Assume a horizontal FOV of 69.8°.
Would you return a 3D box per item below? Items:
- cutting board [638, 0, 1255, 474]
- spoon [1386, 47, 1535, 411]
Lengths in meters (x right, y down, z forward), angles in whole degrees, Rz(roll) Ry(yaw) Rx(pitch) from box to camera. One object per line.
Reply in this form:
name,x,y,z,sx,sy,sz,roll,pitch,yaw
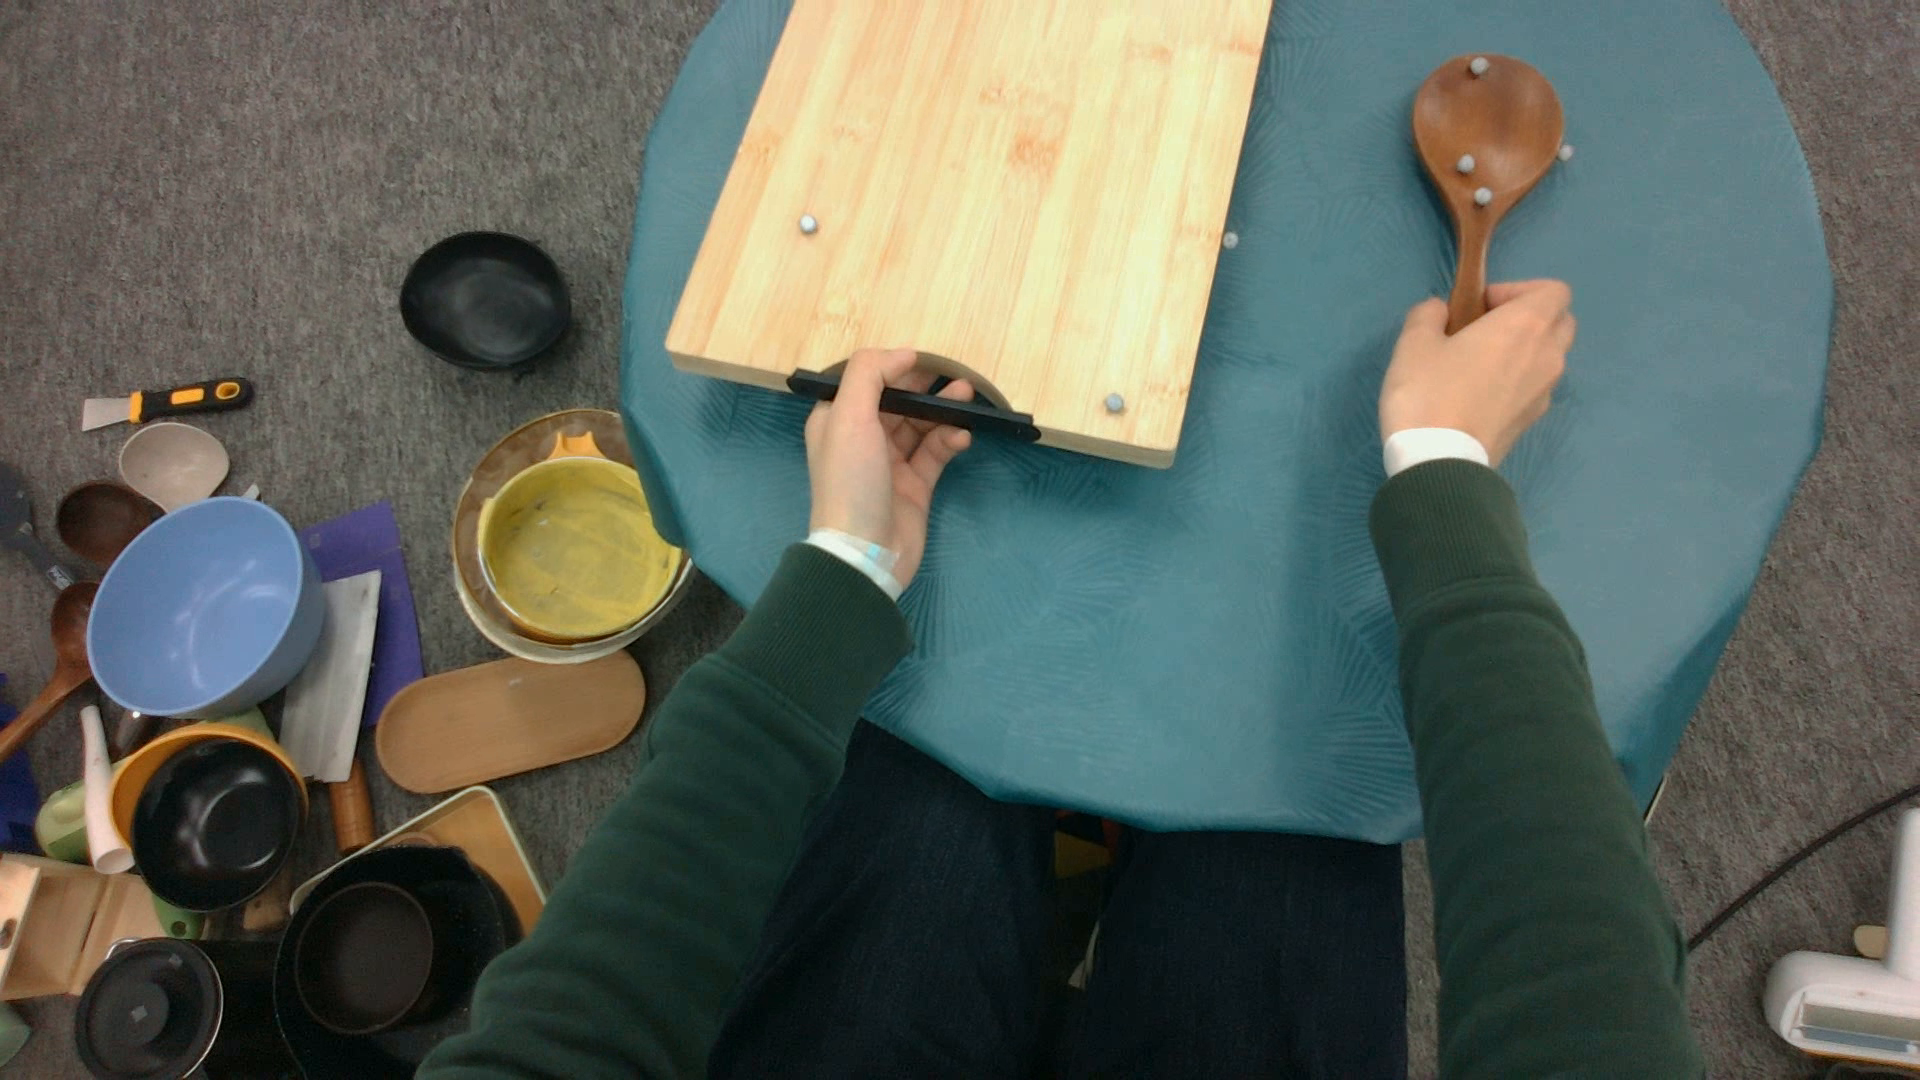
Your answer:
cutting board,0.010,-0.209,0.693,0.250,0.023,0.350,11,67,7
spoon,0.239,-0.156,0.674,0.075,0.017,0.216,12,66,5
